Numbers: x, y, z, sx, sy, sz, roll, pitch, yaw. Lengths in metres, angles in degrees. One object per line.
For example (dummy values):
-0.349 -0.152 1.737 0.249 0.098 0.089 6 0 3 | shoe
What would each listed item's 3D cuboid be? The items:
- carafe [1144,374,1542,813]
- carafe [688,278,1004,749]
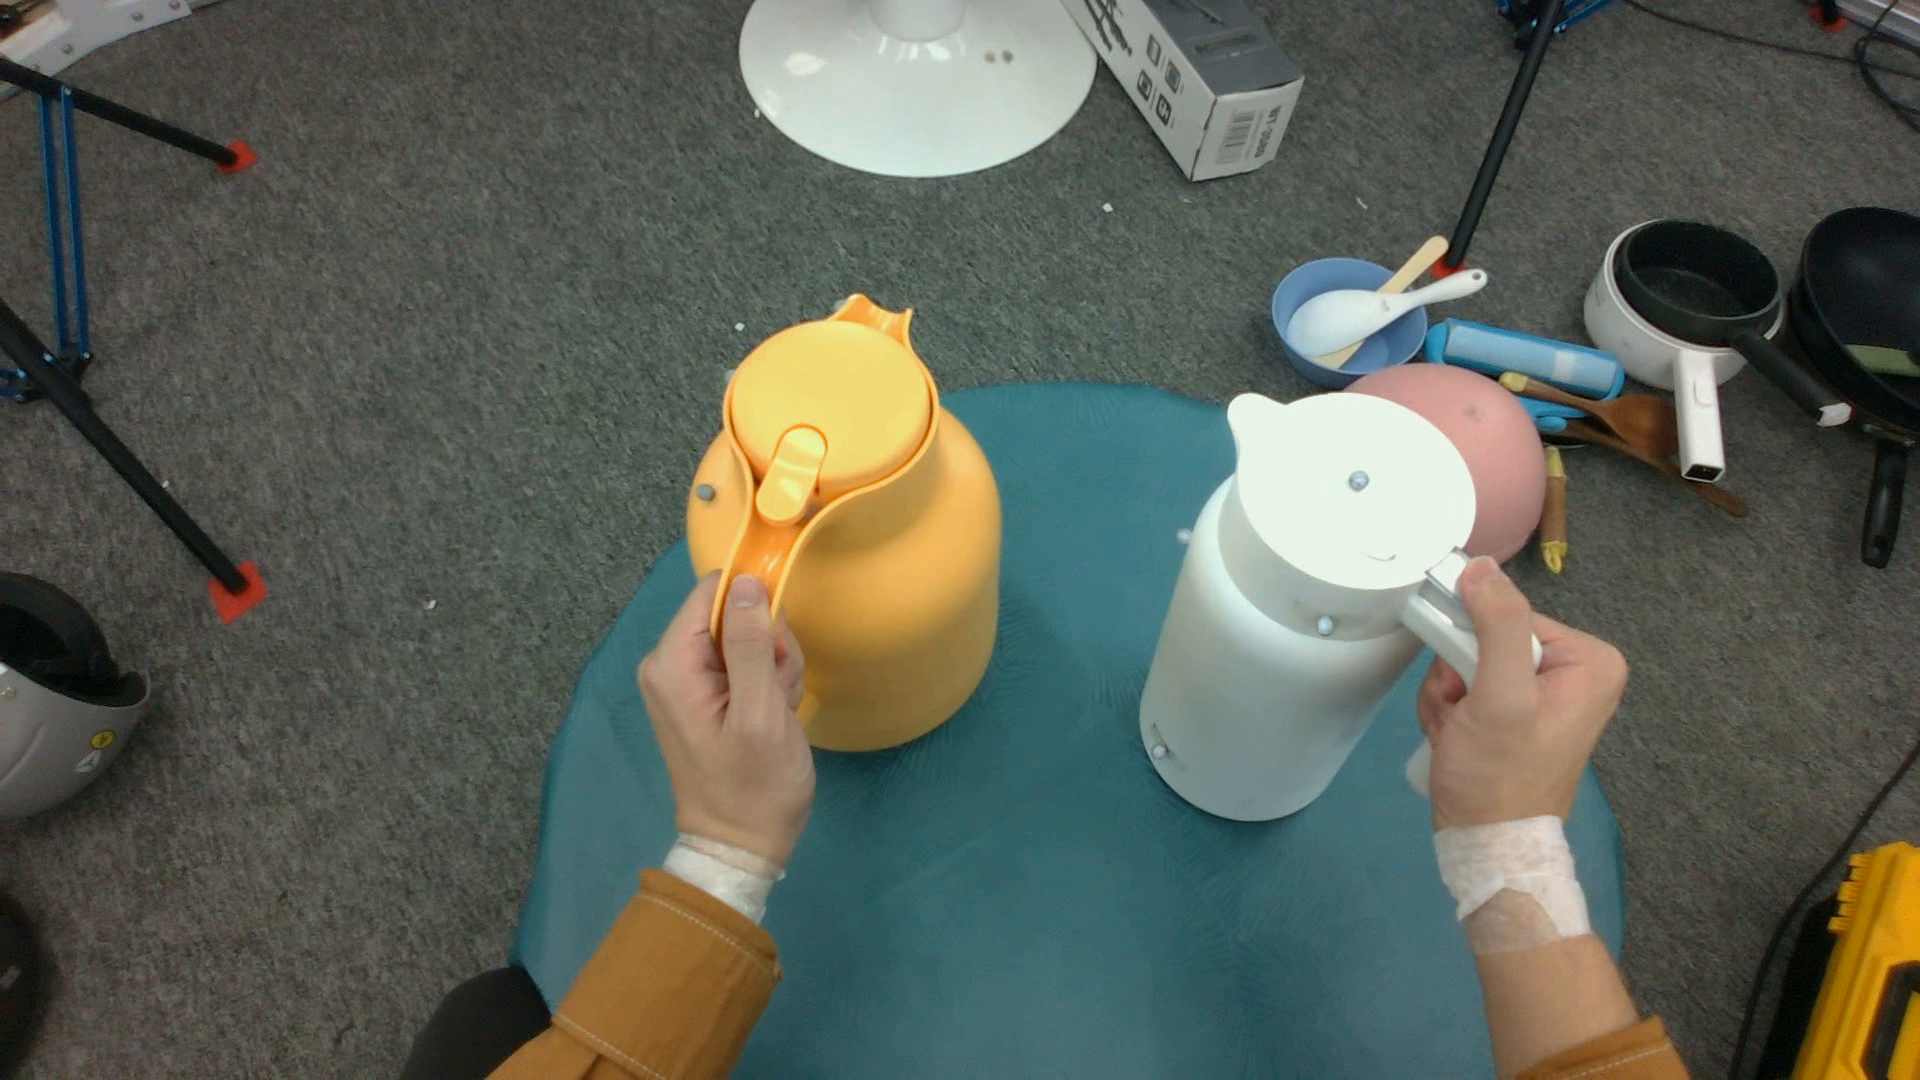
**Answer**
0.177 0.049 0.684 0.124 0.267 0.173 -36 66 -22 | carafe
-0.066 0.007 0.704 0.163 0.259 0.203 18 59 12 | carafe
